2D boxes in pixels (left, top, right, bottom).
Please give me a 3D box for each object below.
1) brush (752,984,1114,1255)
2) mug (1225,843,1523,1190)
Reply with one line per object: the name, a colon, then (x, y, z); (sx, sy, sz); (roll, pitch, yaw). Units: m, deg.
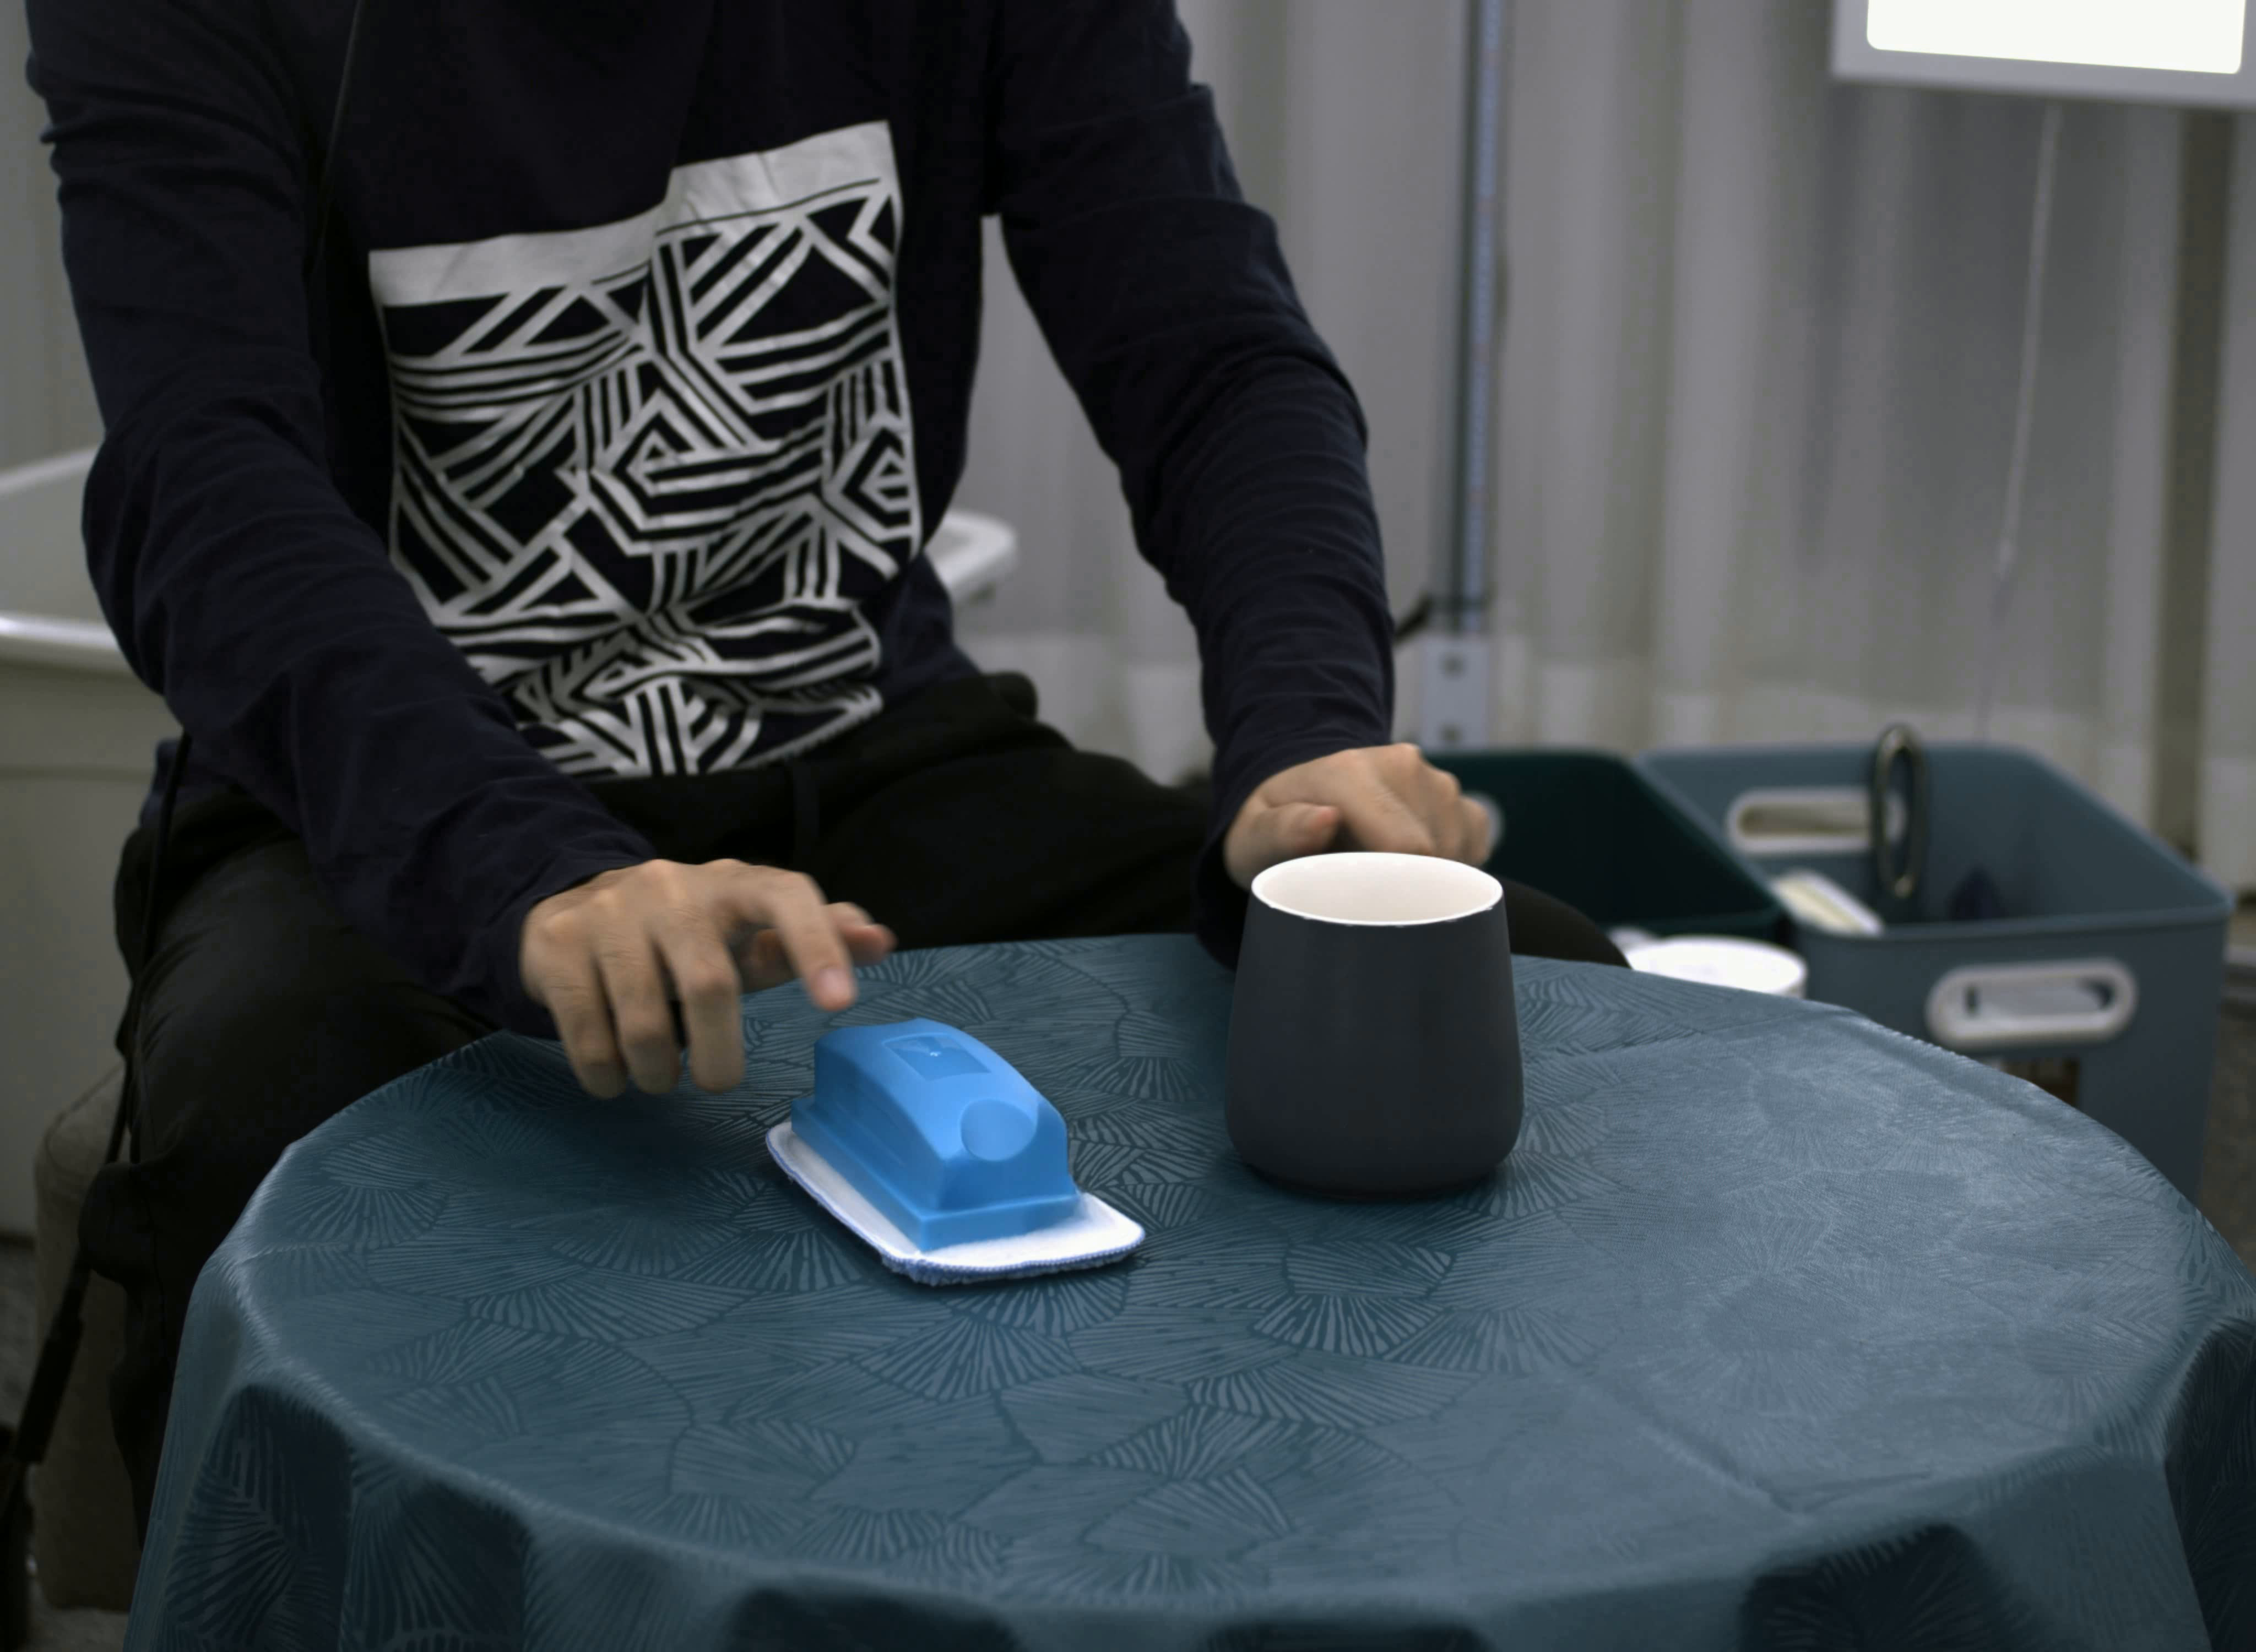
brush: (-0.058, 0.086, 1.602); (0.084, 0.056, 0.142); (-2, 18, -21)
mug: (0.073, 0.055, 1.655); (0.094, 0.090, 0.122); (-4, 18, -21)
